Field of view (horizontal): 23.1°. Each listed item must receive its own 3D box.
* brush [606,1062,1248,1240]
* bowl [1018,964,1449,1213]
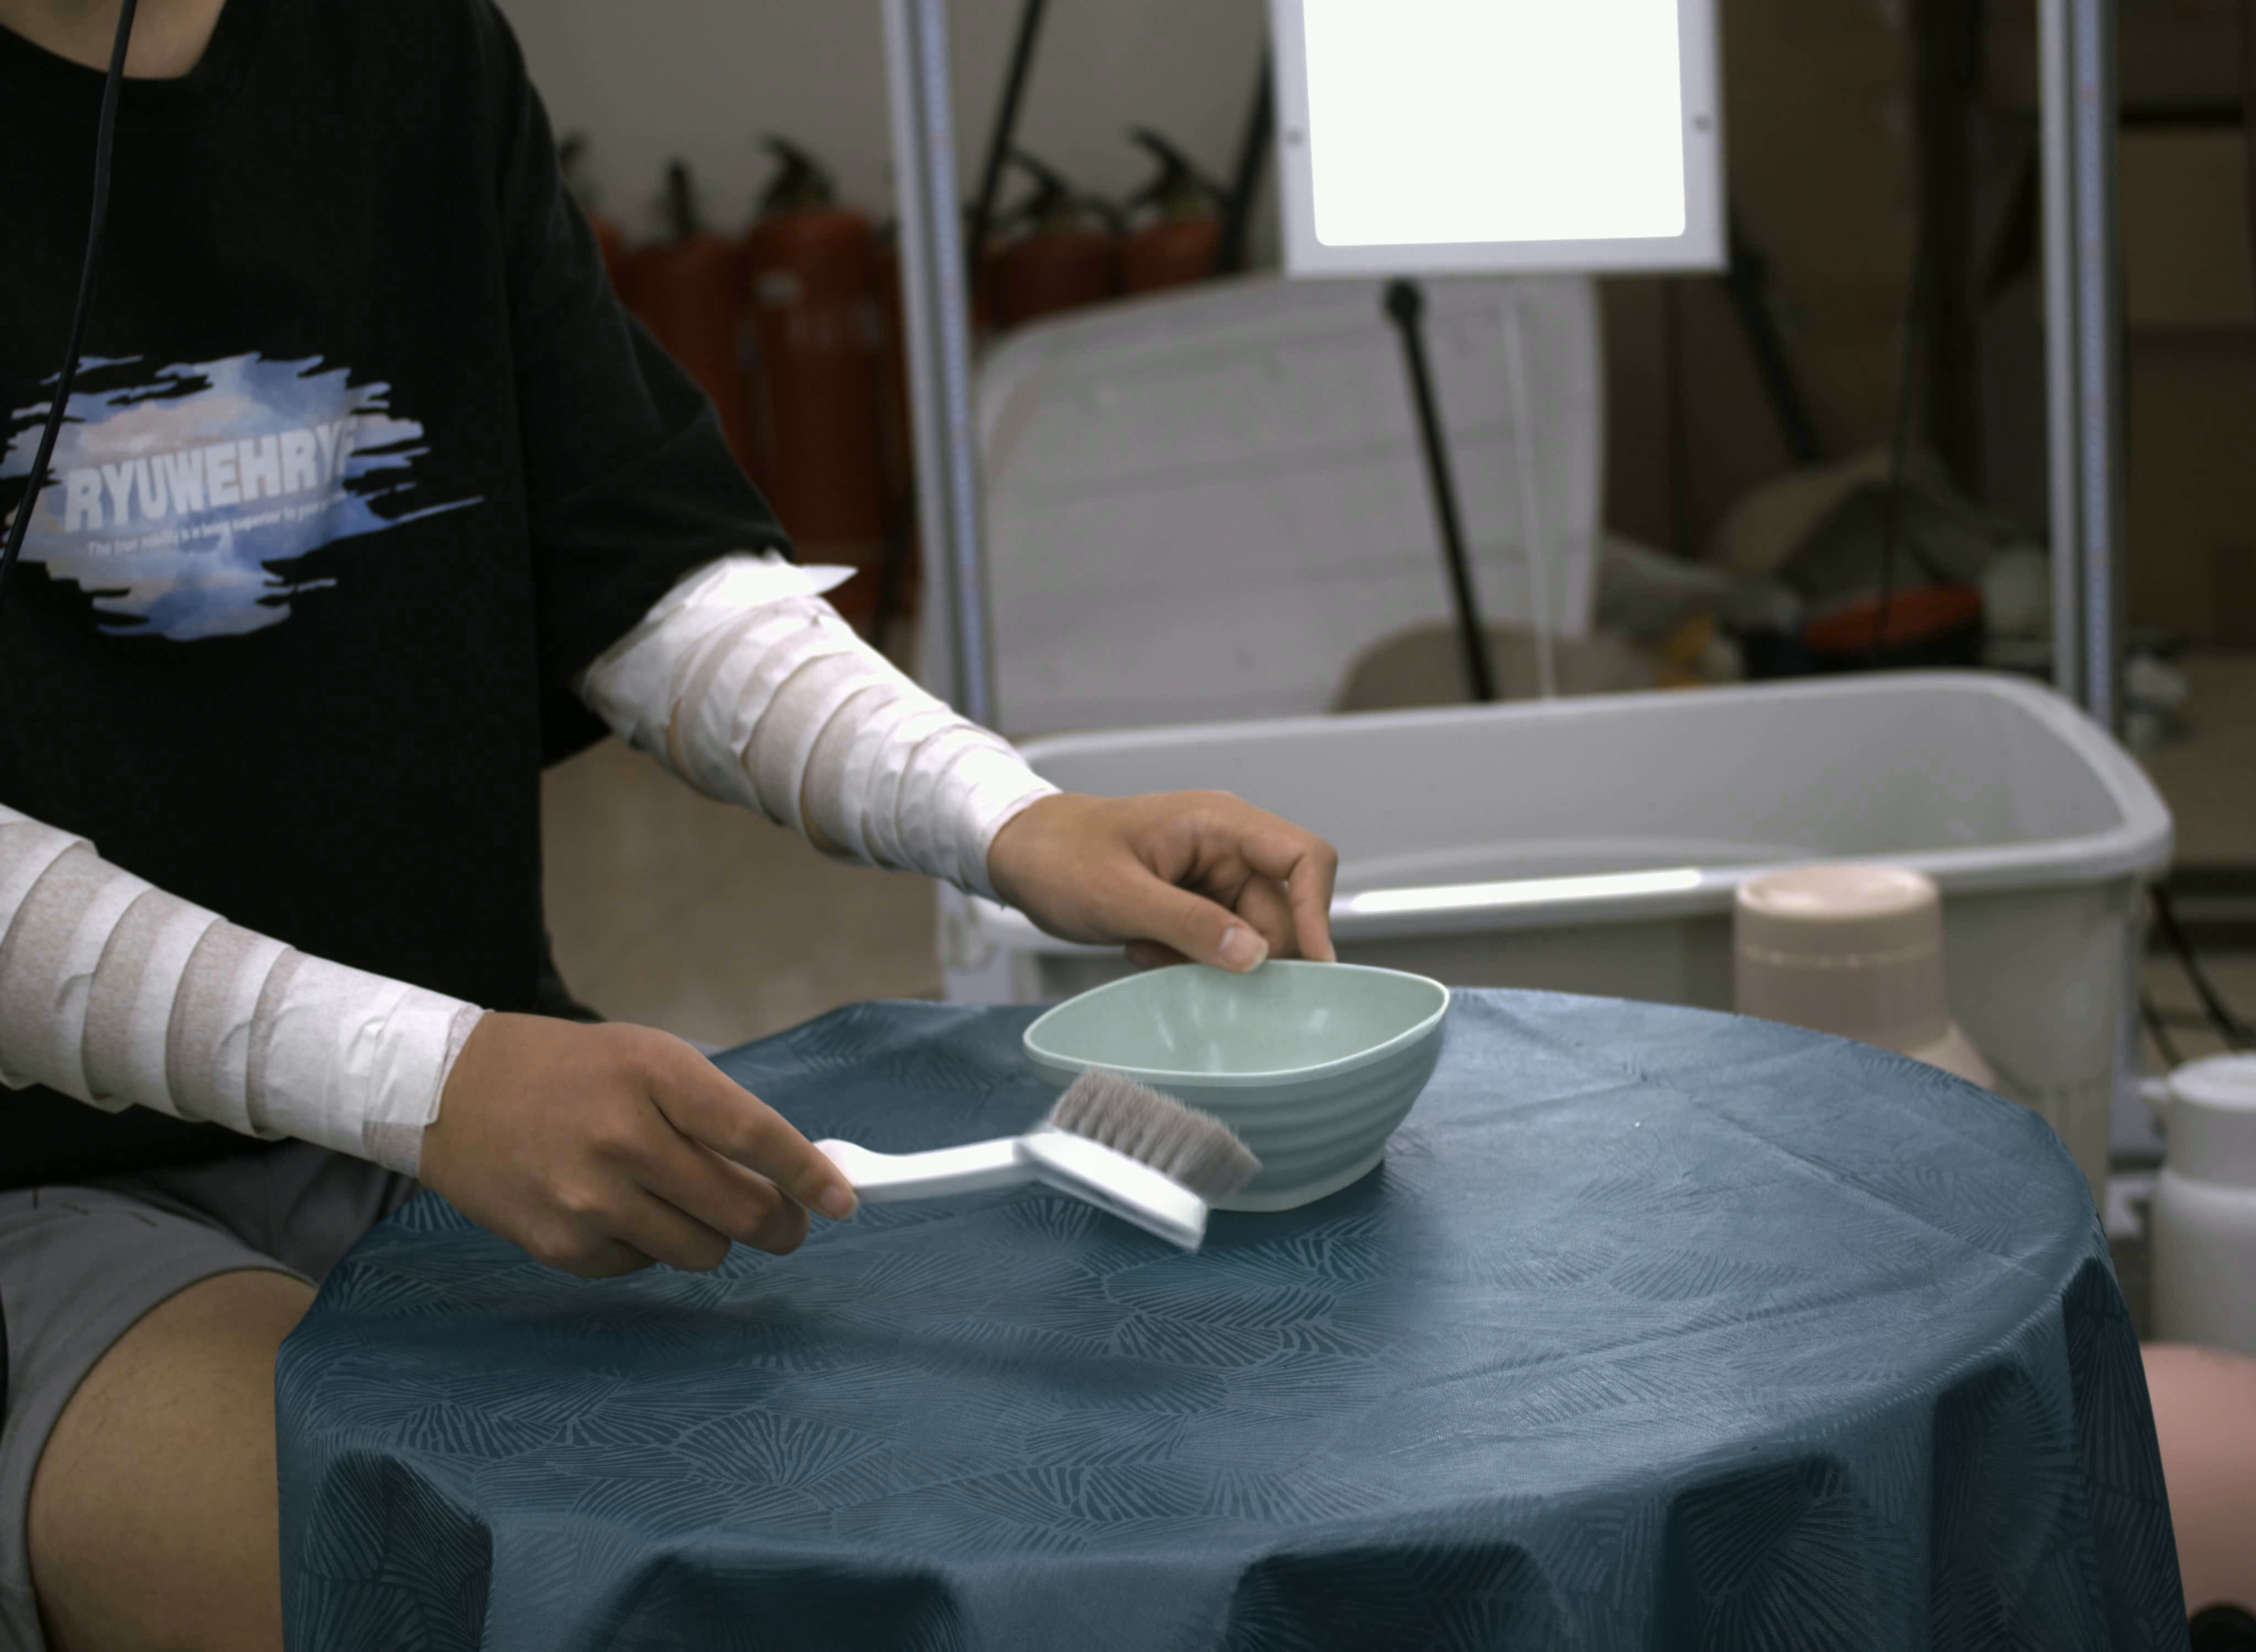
[{"bbox_3d":[-0.068,0.101,1.777,0.249,0.050,0.034,0,-28,38],"label":"brush"},{"bbox_3d":[0.038,0.093,1.901,0.151,0.059,0.151,-4,12,-1],"label":"bowl"}]
